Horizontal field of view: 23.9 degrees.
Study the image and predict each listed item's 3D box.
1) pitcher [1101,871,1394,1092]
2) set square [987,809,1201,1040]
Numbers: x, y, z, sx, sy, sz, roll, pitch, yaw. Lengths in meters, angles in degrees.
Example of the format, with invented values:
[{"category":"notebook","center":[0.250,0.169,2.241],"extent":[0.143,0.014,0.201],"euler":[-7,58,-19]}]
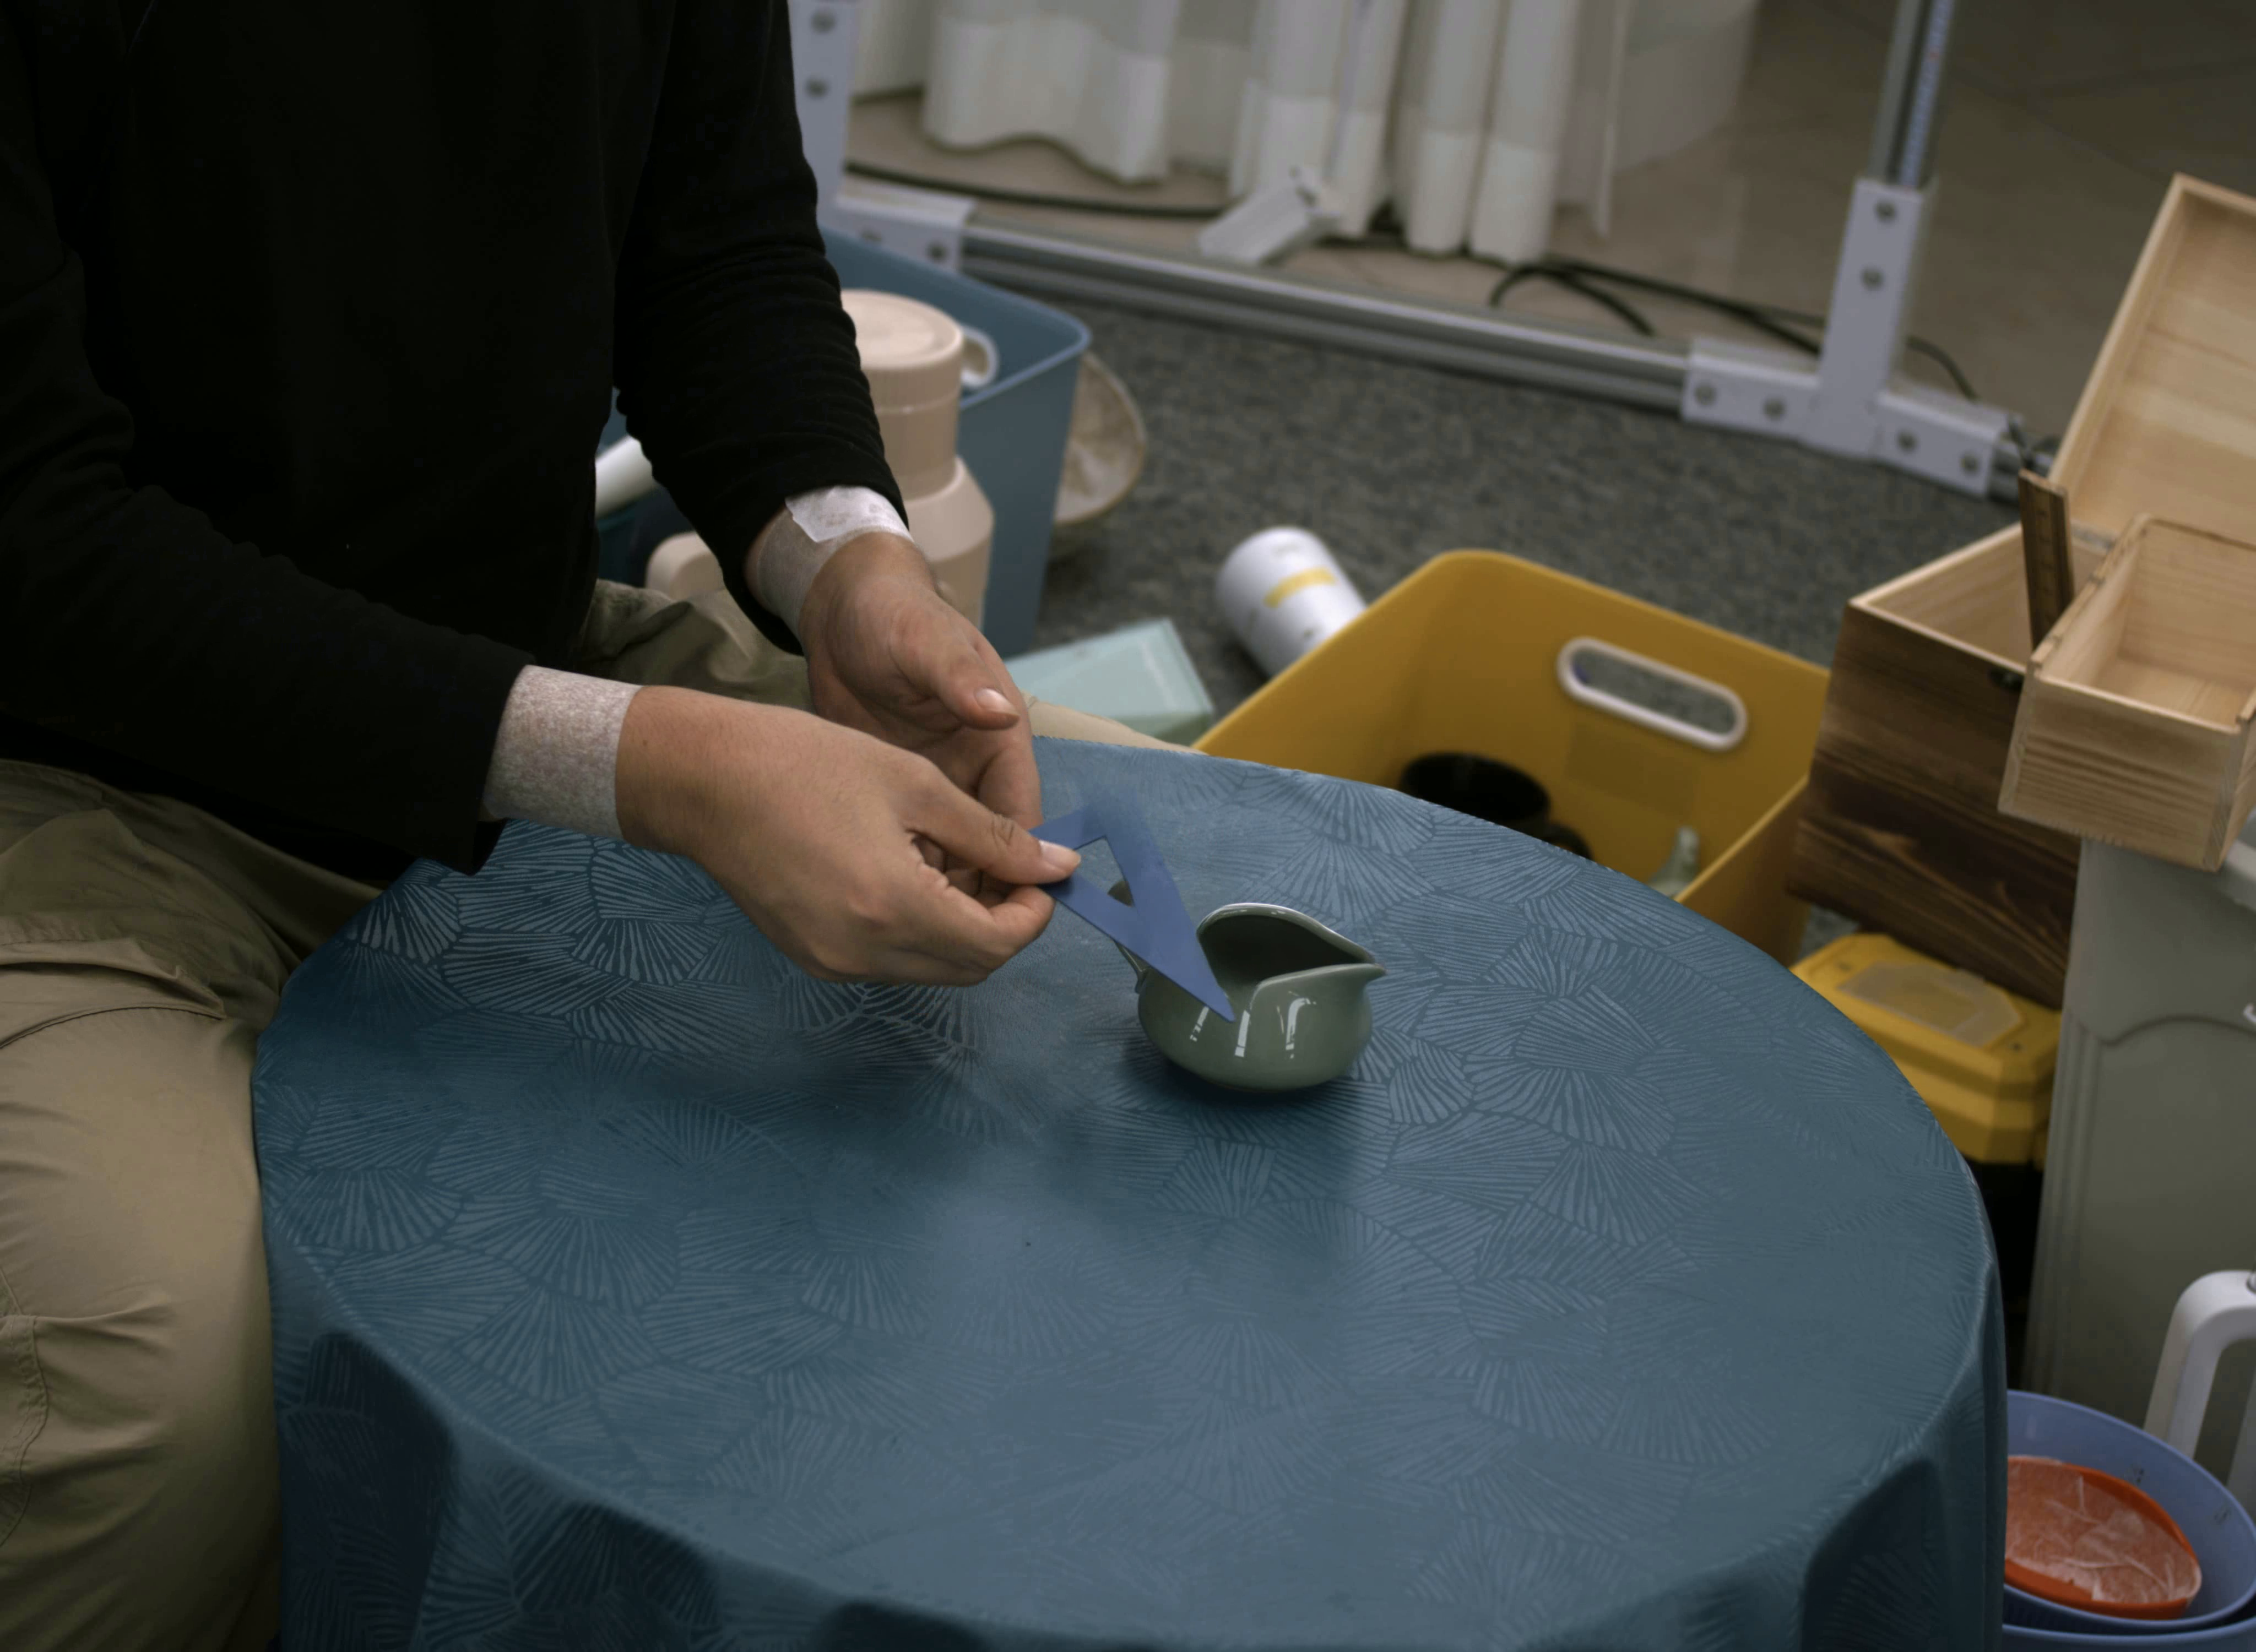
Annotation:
[{"category":"pitcher","center":[0.040,0.055,1.883],"extent":[0.113,0.056,0.084],"euler":[19,27,23]},{"category":"set square","center":[-0.013,0.031,1.817],"extent":[0.061,0.006,0.133],"euler":[1,35,-13]}]
